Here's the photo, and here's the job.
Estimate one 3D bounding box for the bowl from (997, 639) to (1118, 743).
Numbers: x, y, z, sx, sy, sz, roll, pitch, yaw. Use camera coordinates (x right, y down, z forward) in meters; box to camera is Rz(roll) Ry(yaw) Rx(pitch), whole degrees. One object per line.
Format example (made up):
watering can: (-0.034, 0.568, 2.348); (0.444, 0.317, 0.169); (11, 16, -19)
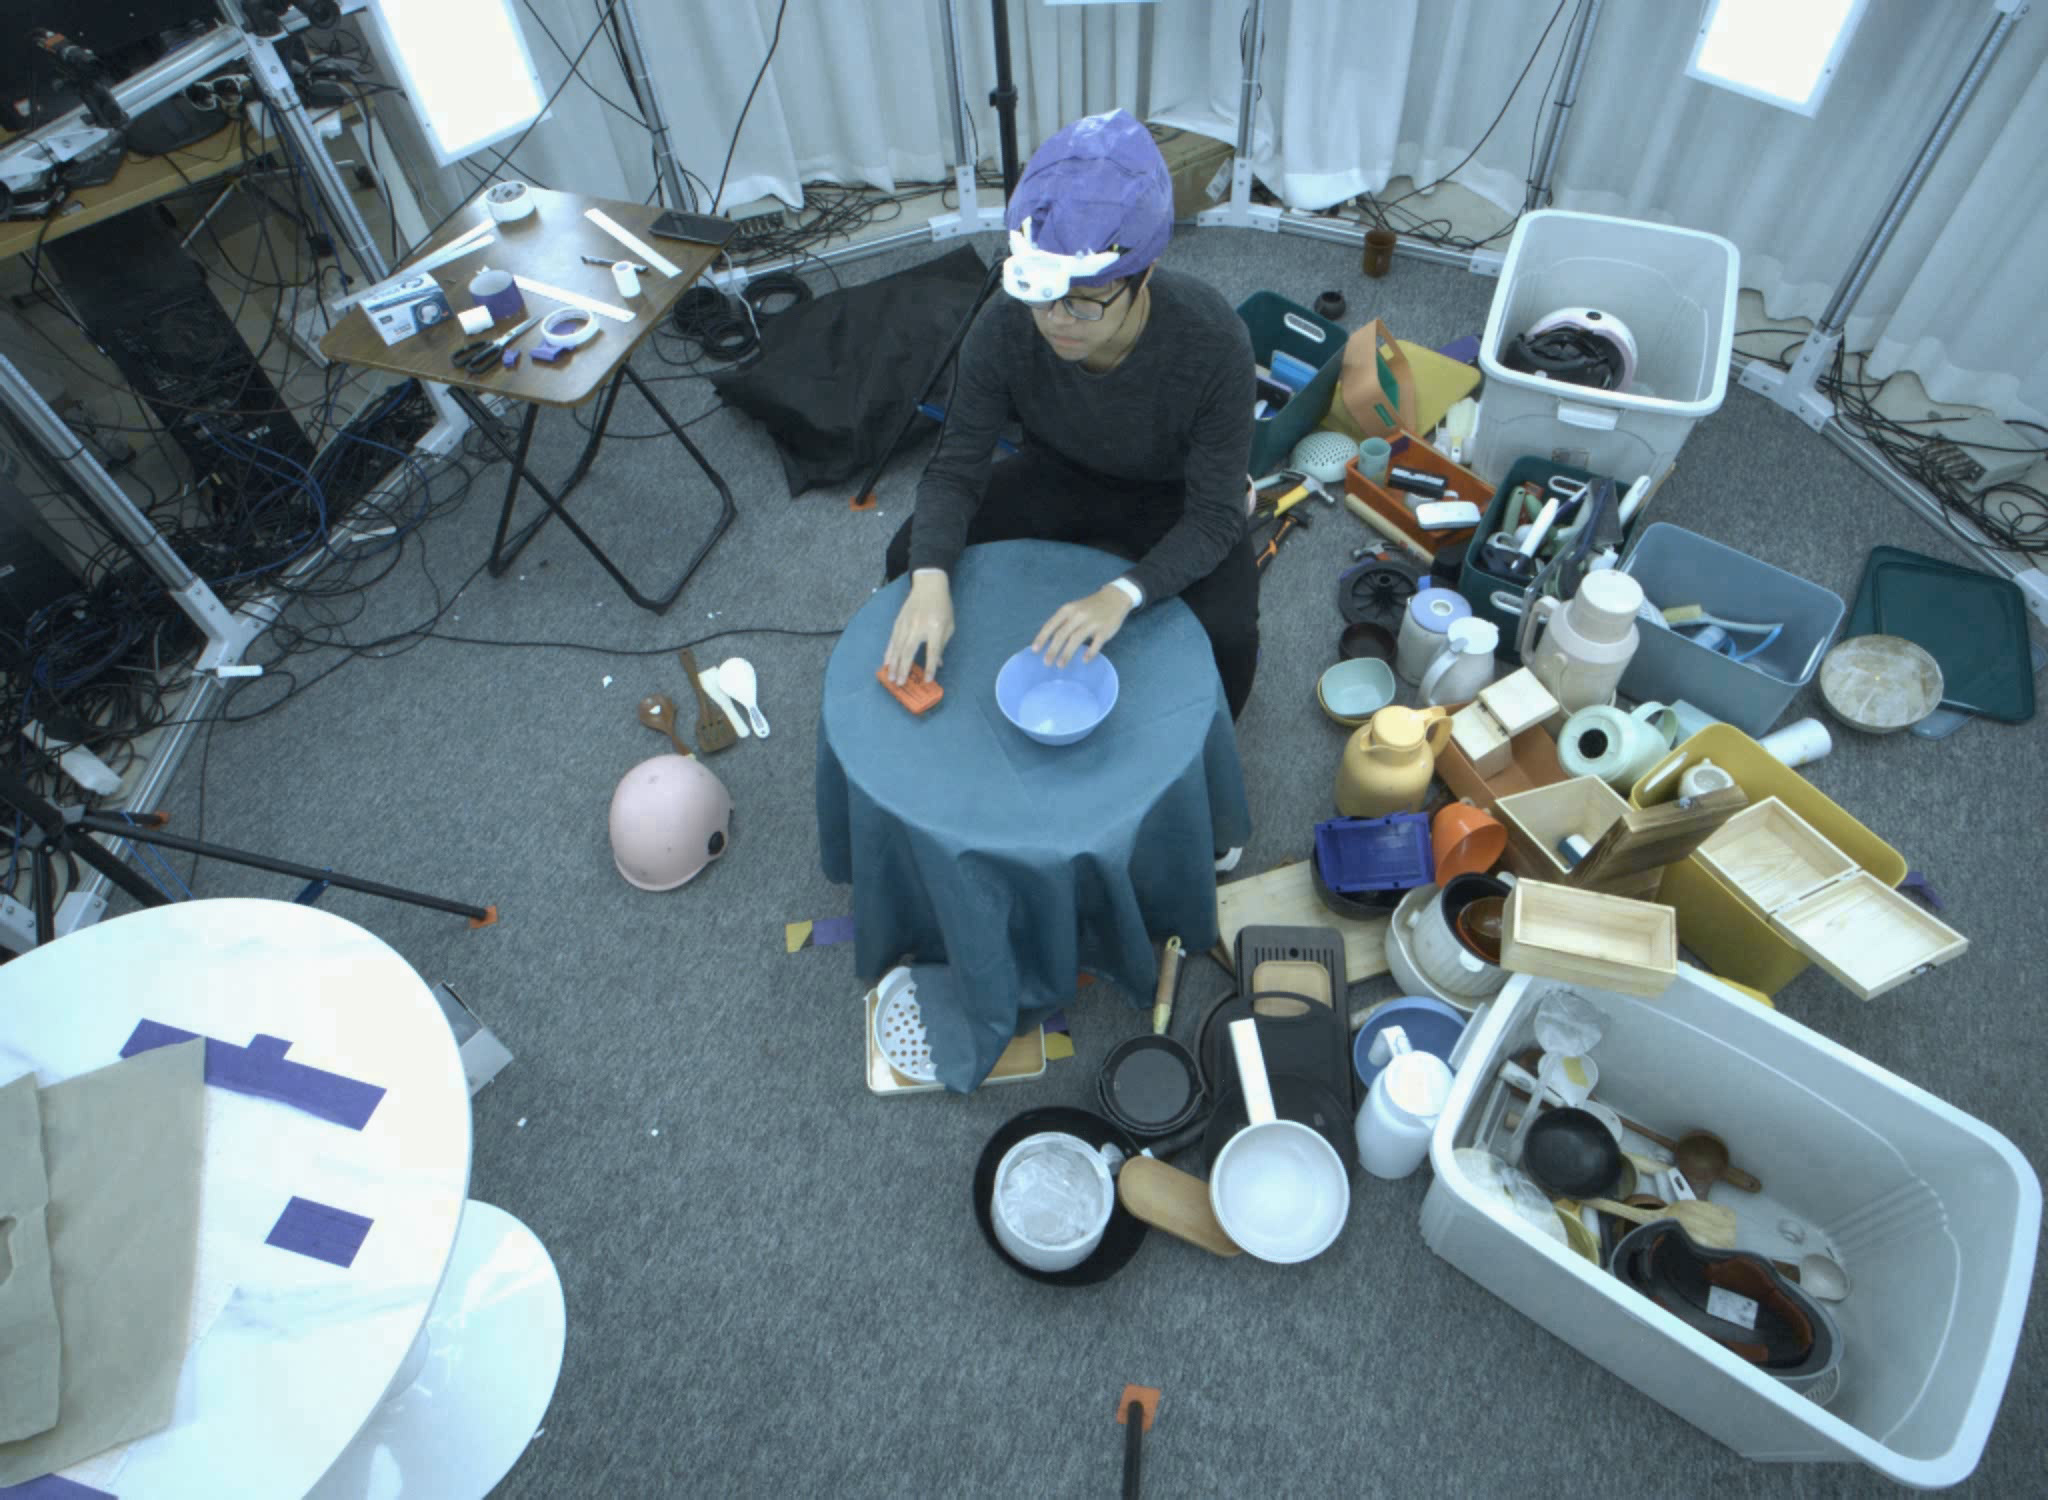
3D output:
bowl: (0.050, -0.075, 1.796); (0.176, 0.071, 0.174); (-1, 55, 2)

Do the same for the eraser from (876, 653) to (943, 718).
eraser: (-0.173, -0.098, 1.849); (0.059, 0.023, 0.106); (-36, 60, -19)
